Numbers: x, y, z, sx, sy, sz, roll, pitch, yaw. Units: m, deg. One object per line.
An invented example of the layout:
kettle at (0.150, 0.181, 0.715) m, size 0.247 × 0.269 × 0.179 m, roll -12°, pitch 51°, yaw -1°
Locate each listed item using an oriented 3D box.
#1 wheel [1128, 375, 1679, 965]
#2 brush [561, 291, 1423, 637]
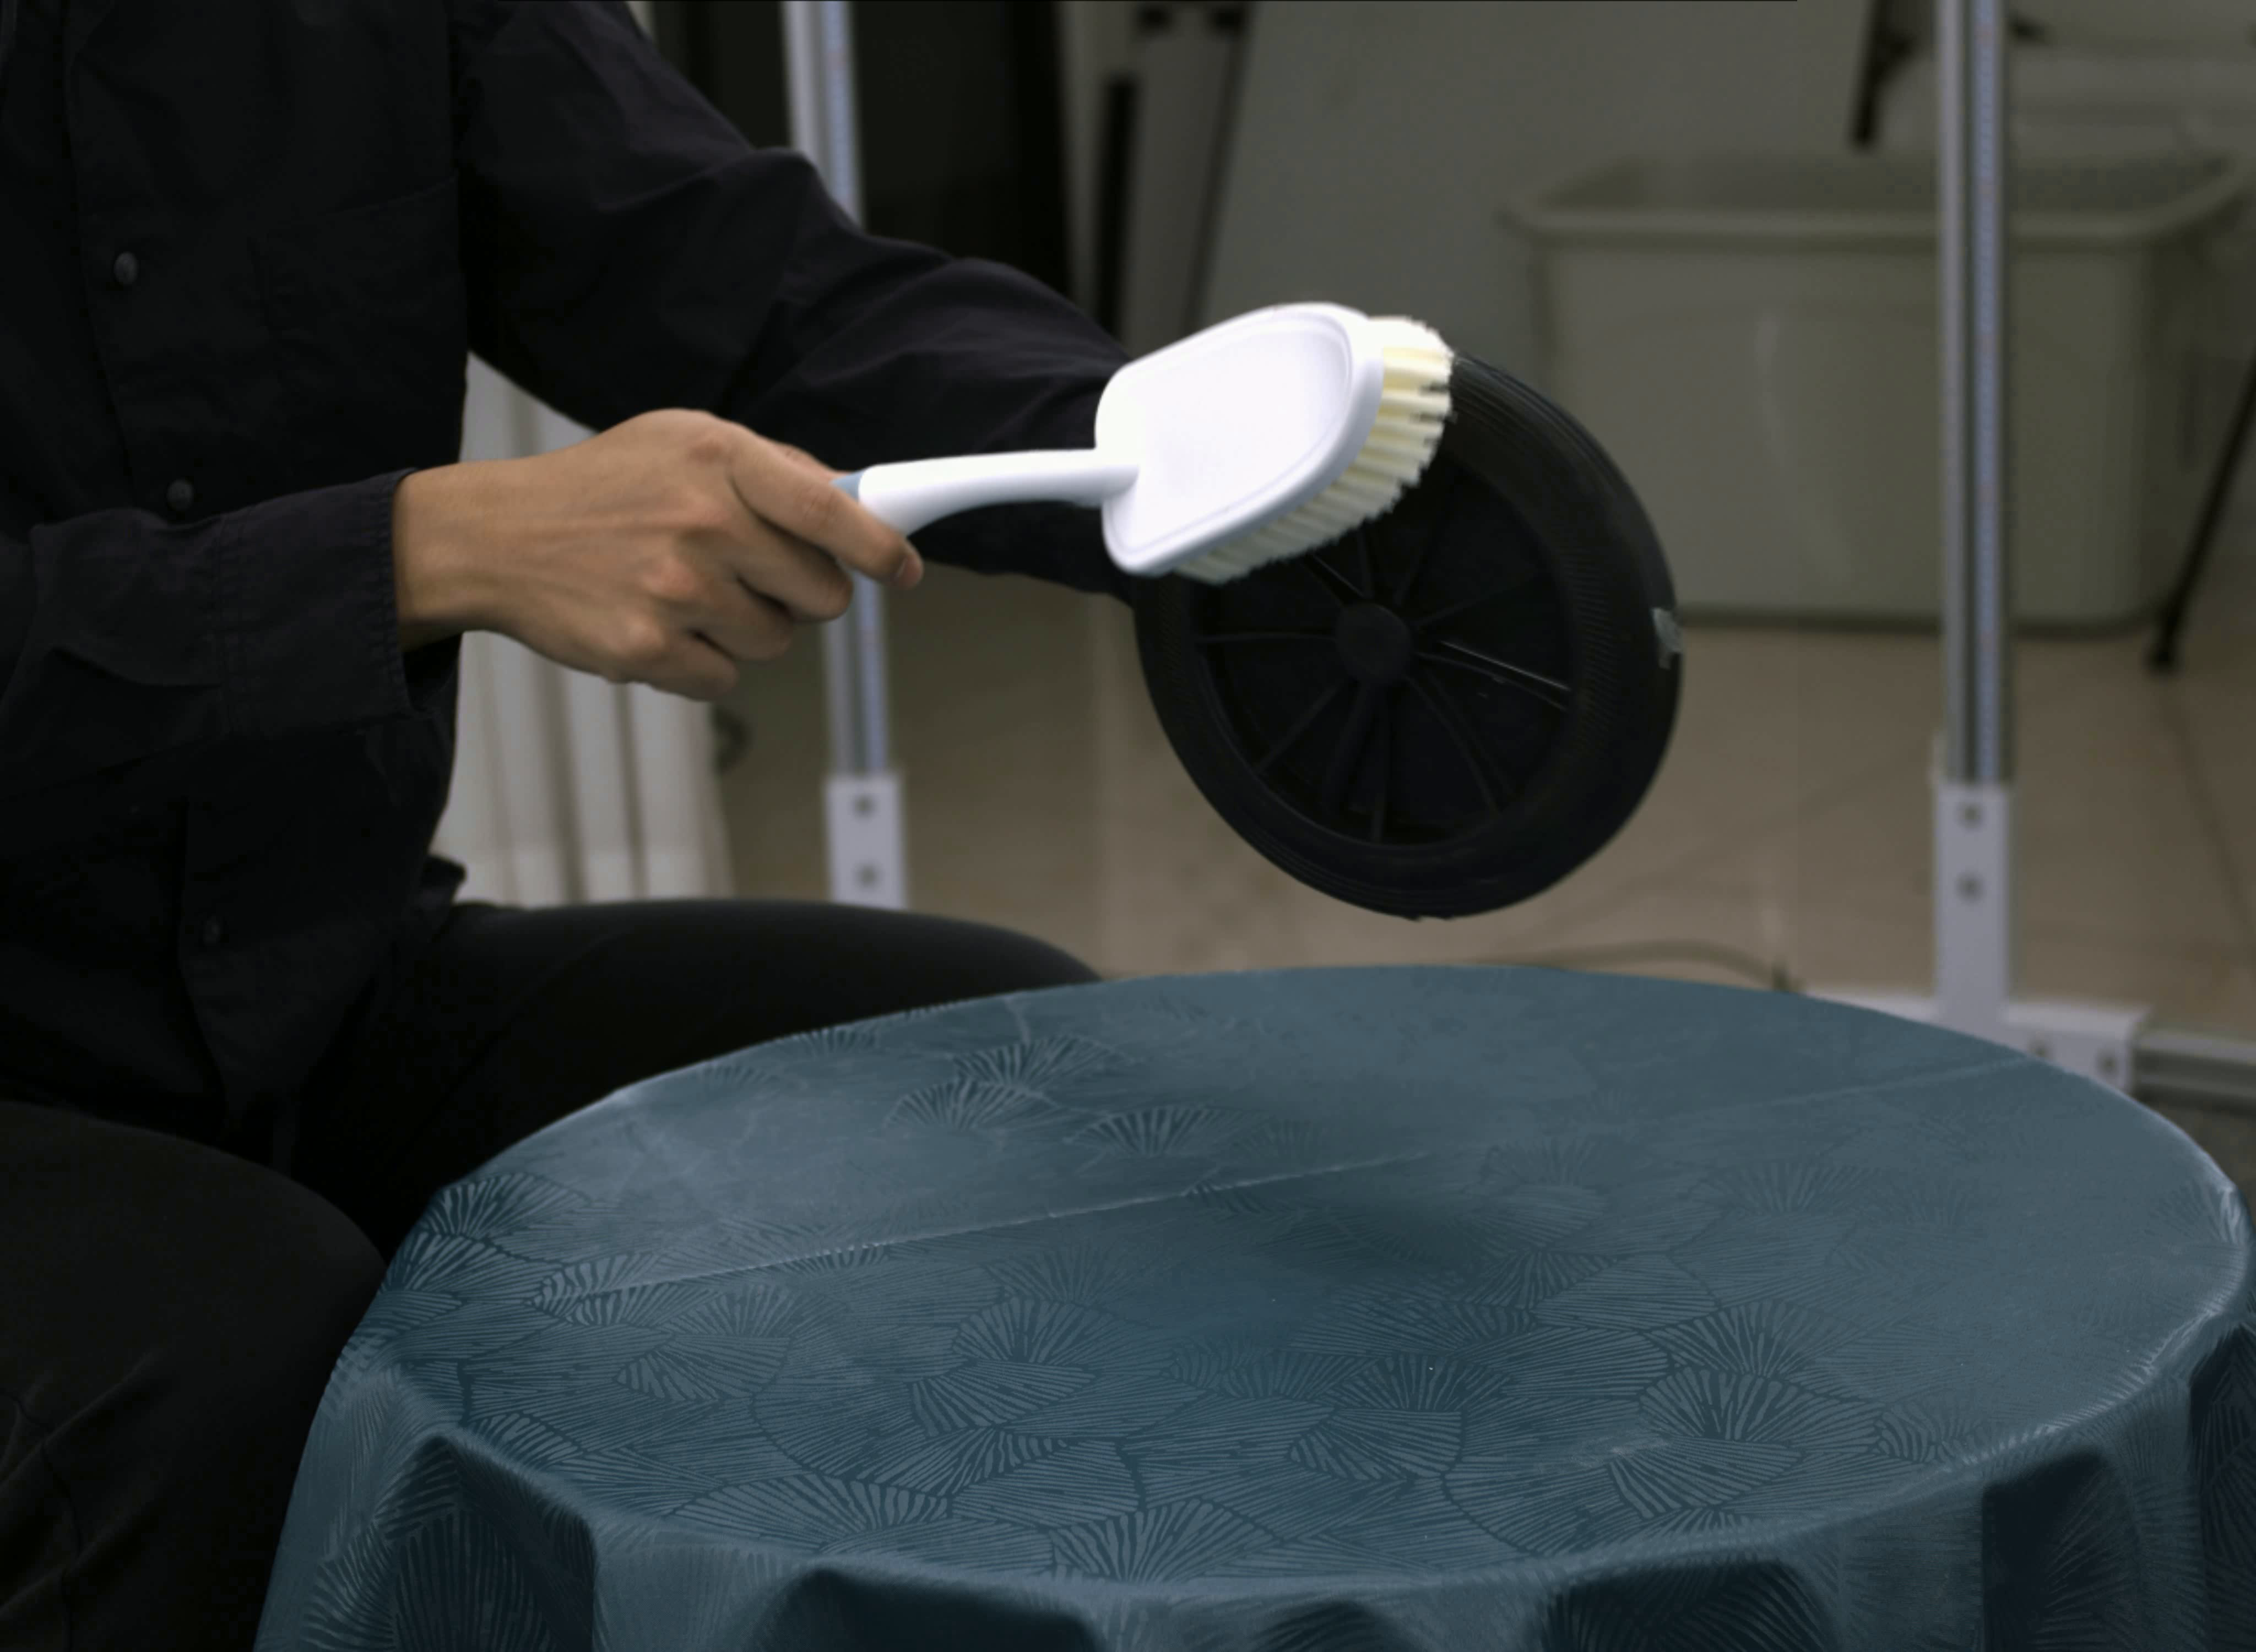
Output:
wheel at (0.096, -0.055, 1.717) m, size 0.190 × 0.189 × 0.078 m, roll 32°, pitch 32°, yaw 18°
brush at (-0.040, -0.106, 1.705) m, size 0.327 × 0.084 × 0.083 m, roll -16°, pitch 35°, yaw 34°
